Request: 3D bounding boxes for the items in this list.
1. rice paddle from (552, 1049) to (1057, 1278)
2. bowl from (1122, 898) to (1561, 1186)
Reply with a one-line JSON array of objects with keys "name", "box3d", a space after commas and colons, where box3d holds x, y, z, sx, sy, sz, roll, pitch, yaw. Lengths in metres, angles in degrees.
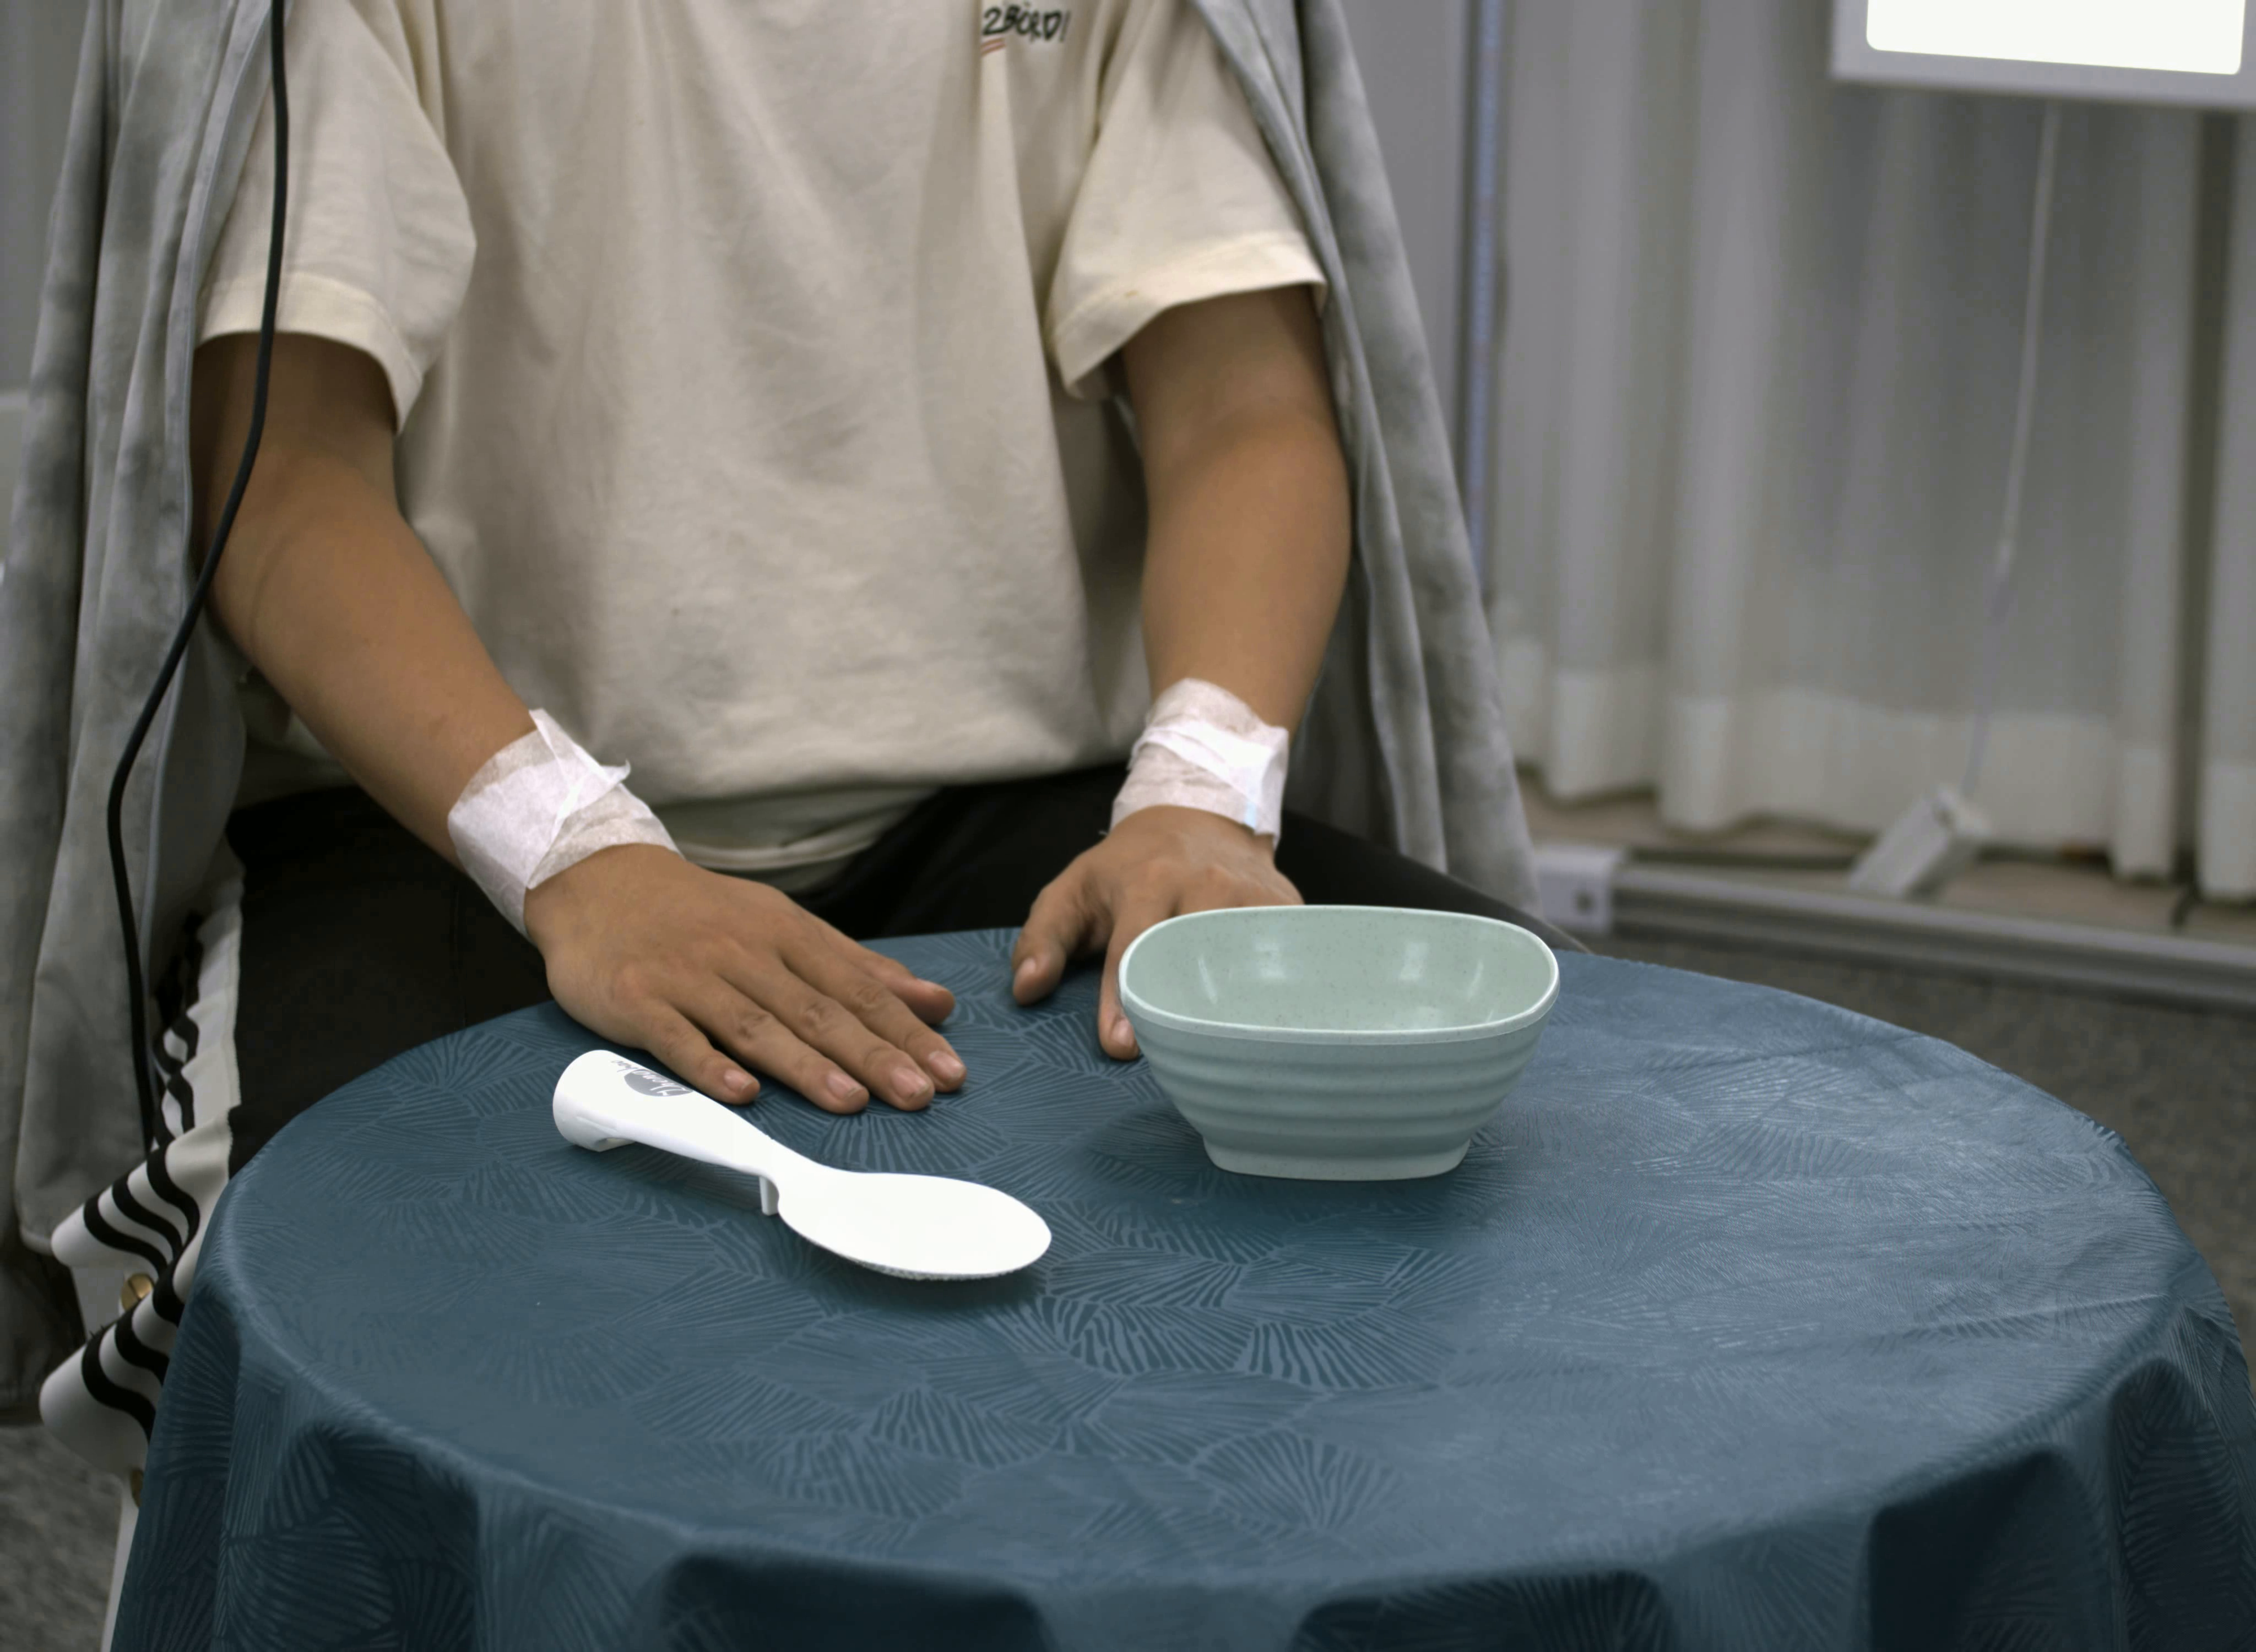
[{"name": "rice paddle", "box3d": [-0.100, 0.104, 1.595, 0.069, 0.029, 0.202, -16, 22, -41]}, {"name": "bowl", "box3d": [0.068, 0.072, 1.670, 0.151, 0.059, 0.150, 0, 18, 1]}]
